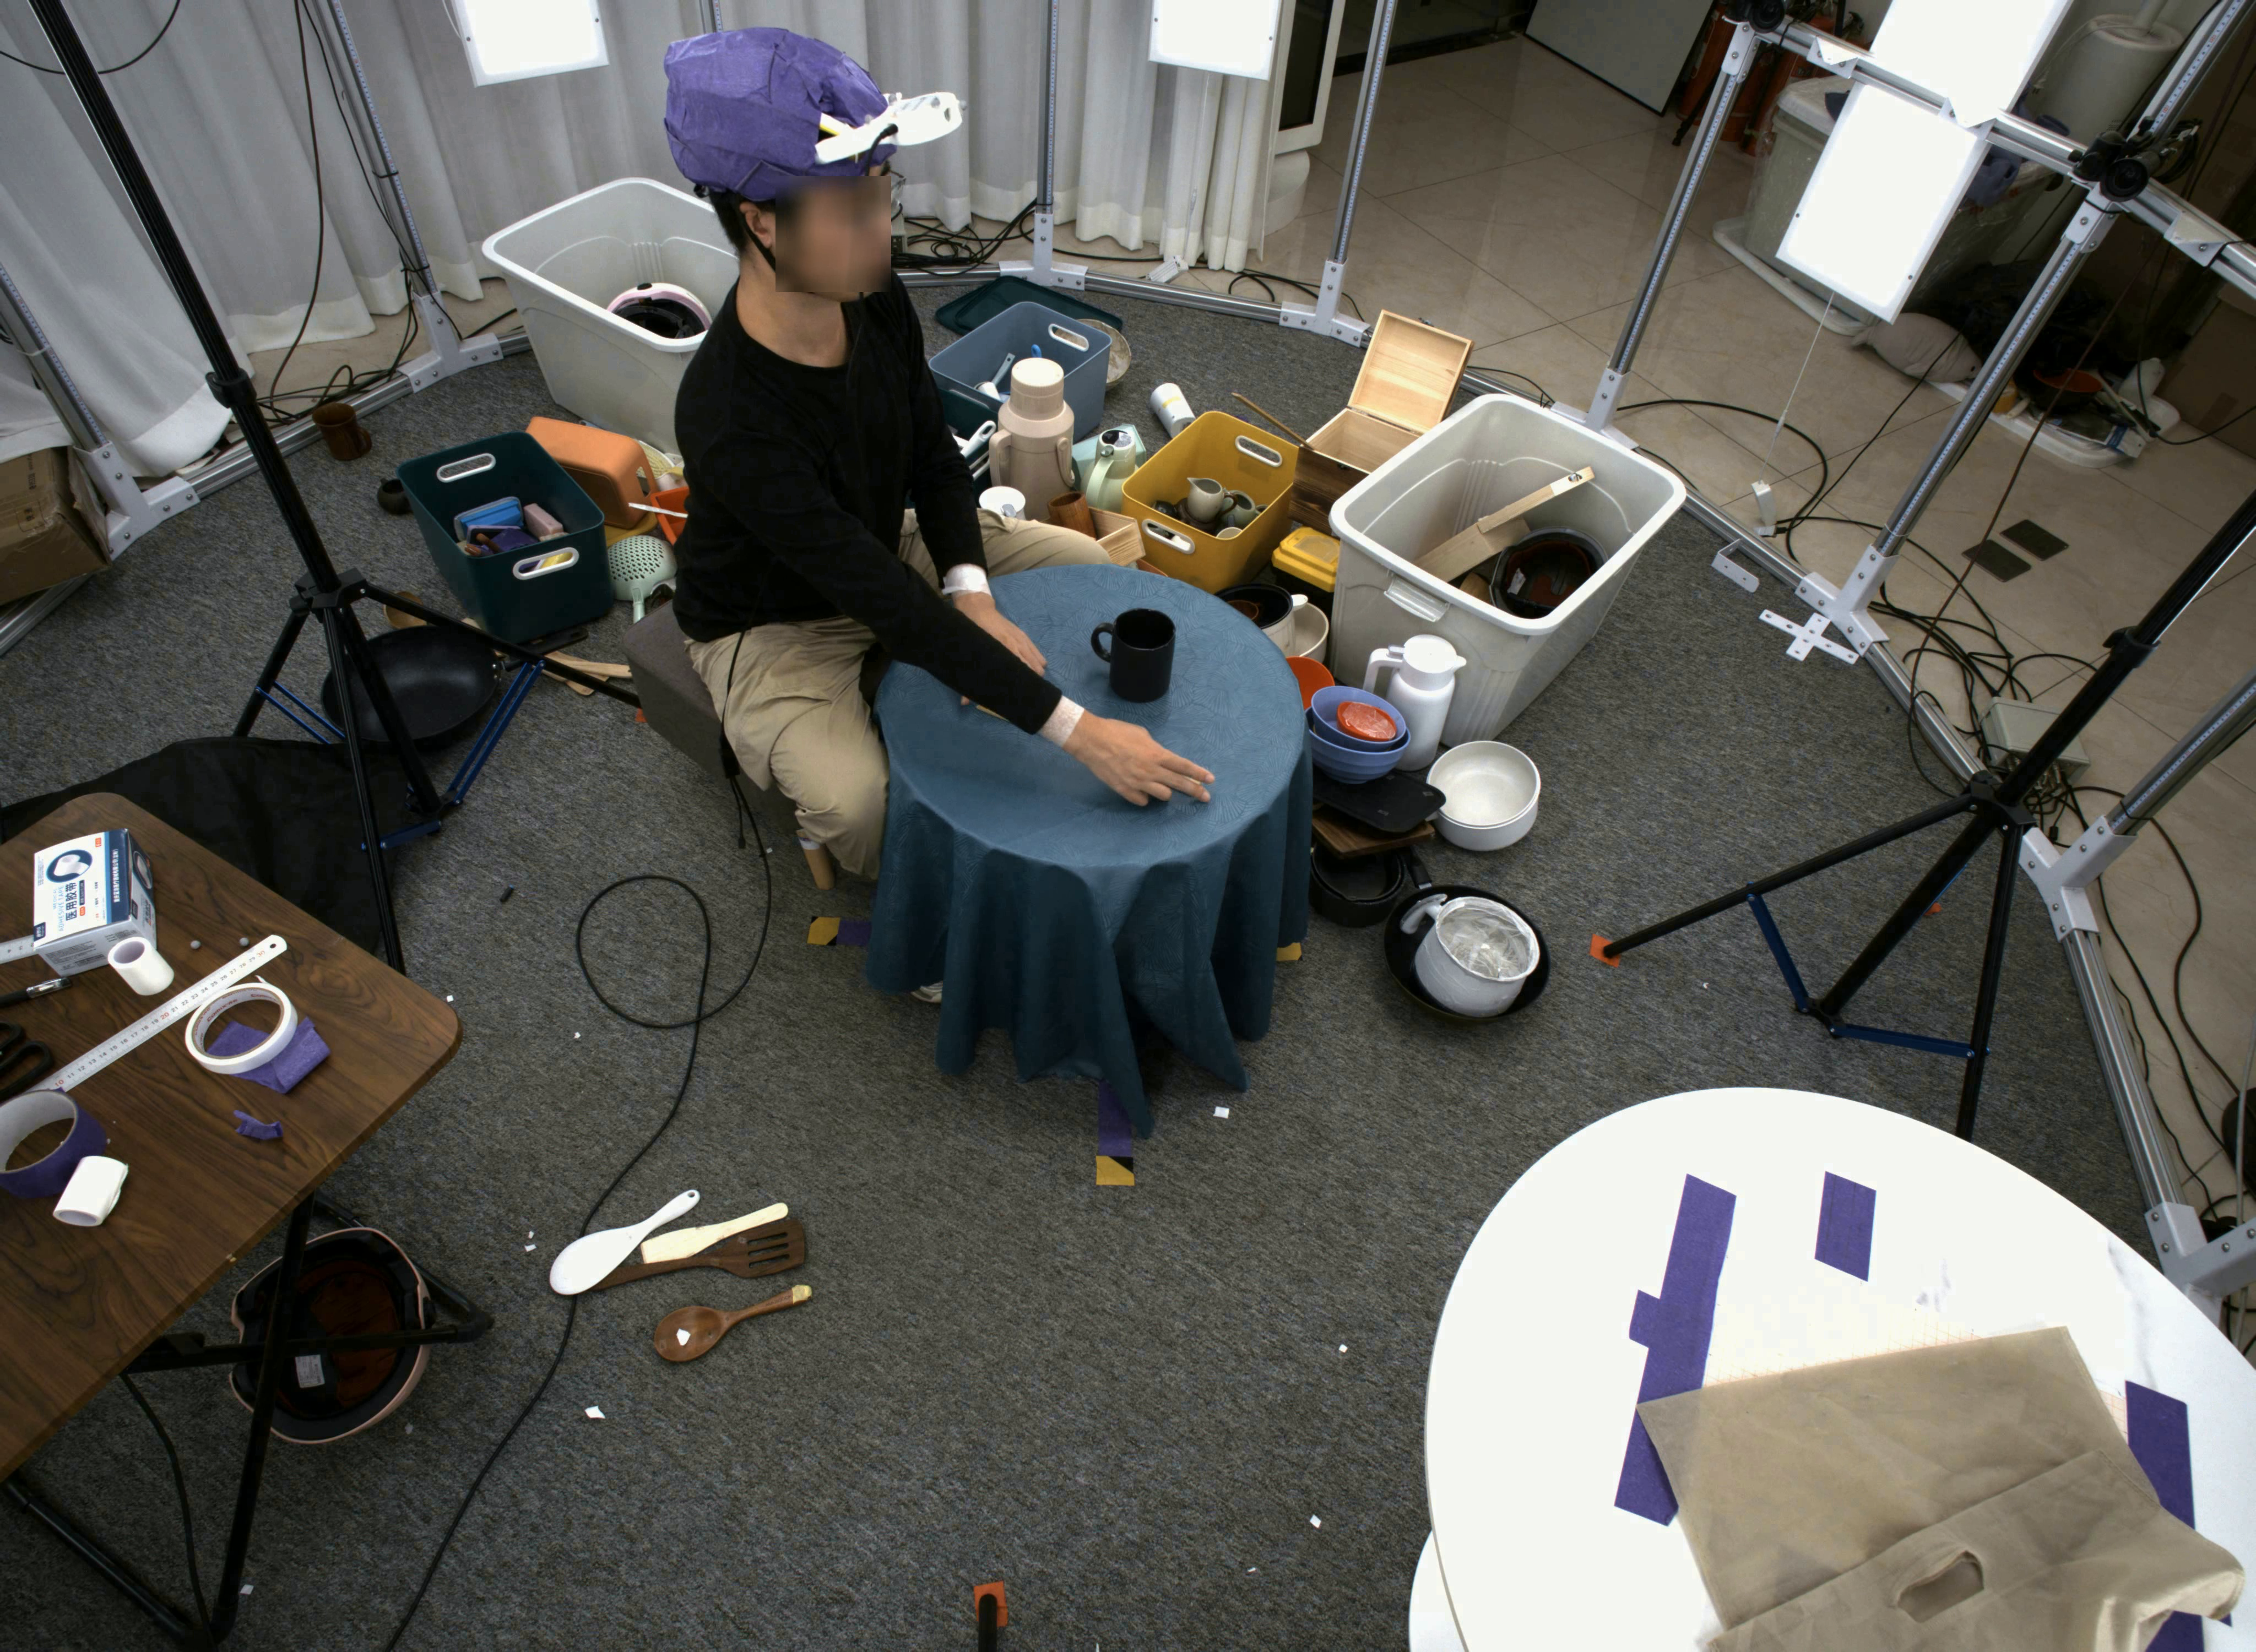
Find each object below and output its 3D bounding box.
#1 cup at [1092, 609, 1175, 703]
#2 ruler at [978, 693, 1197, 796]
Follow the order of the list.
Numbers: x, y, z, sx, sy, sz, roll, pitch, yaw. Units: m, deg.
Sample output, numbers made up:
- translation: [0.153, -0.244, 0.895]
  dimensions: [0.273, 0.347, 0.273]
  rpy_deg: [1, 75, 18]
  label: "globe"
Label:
- translation: [0.004, -0.247, 1.819]
  dimensions: [0.124, 0.103, 0.090]
  rpy_deg: [24, 54, 17]
  label: "cup"
- translation: [-0.059, -0.115, 1.760]
  dimensions: [0.334, 0.021, 0.028]
  rpy_deg: [24, 49, 16]
  label: "ruler"
